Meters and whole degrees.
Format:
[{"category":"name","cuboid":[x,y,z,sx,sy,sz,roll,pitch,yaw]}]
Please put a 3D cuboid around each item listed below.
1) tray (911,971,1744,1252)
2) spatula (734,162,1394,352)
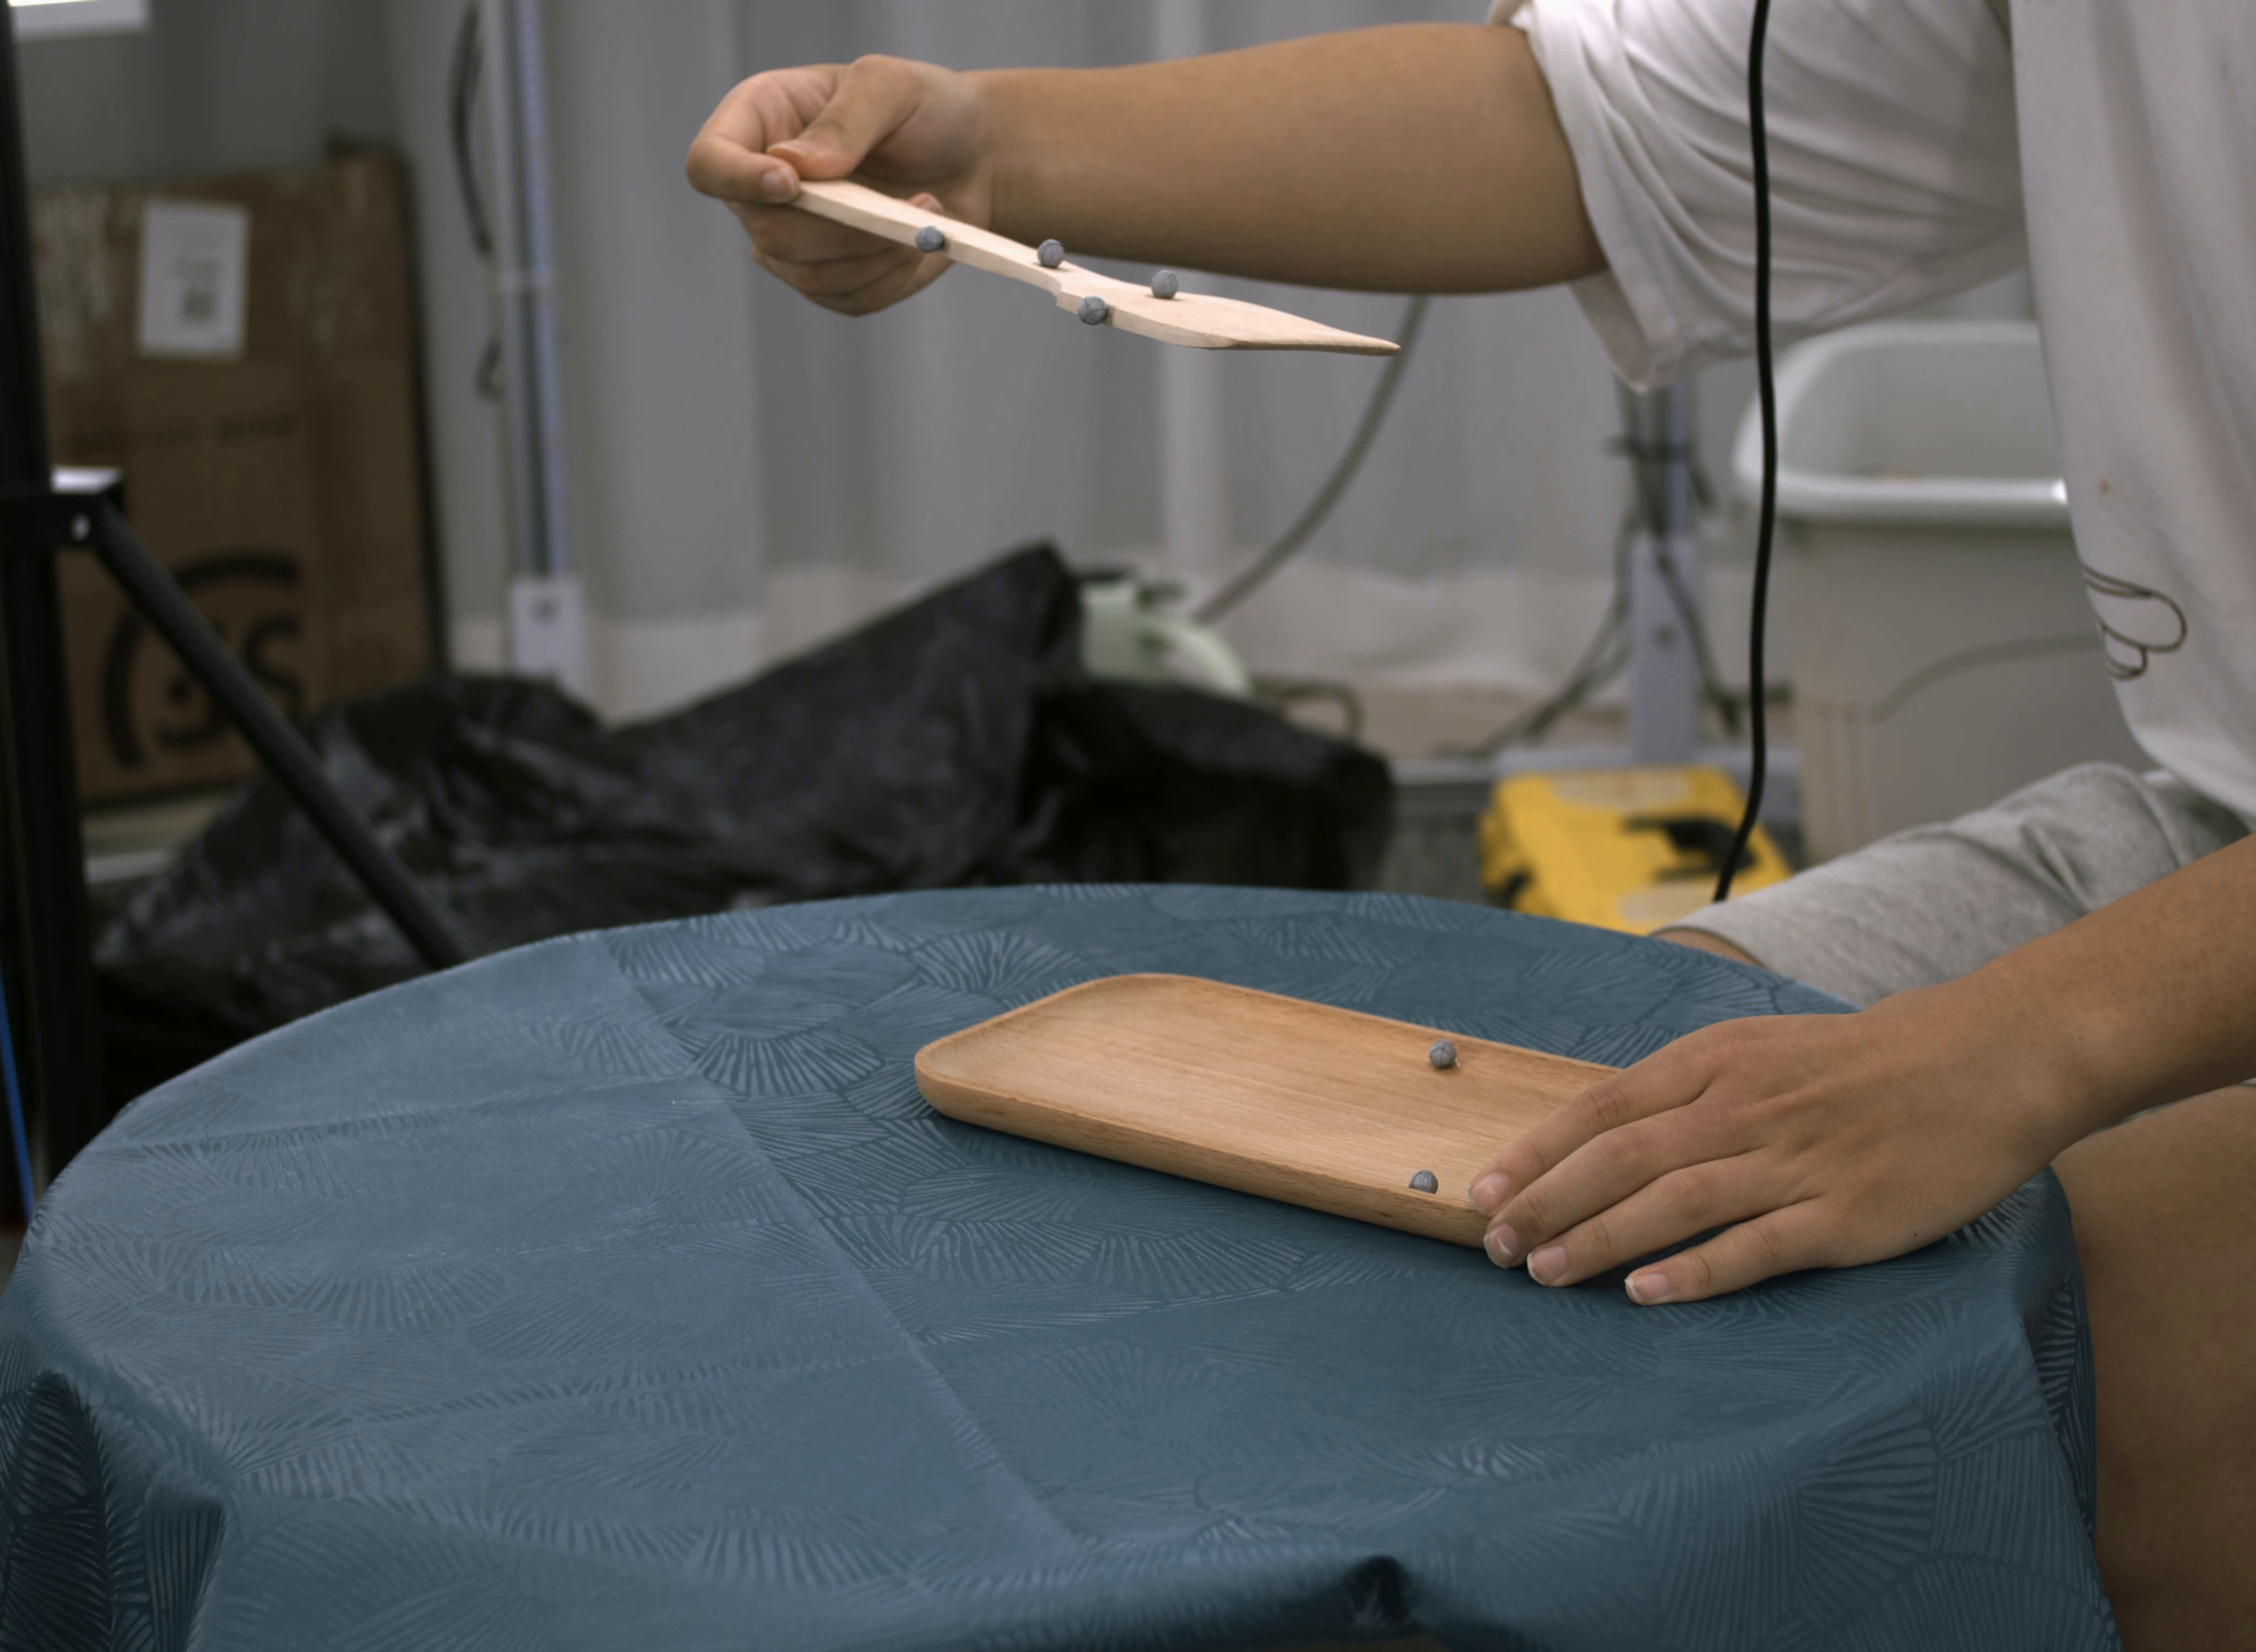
[{"category":"tray","cuboid":[0.058,0.085,1.606,0.256,0.023,0.127,11,18,41]},{"category":"spatula","cuboid":[-0.035,-0.178,1.672,0.070,0.011,0.300,-3,17,-38]}]
